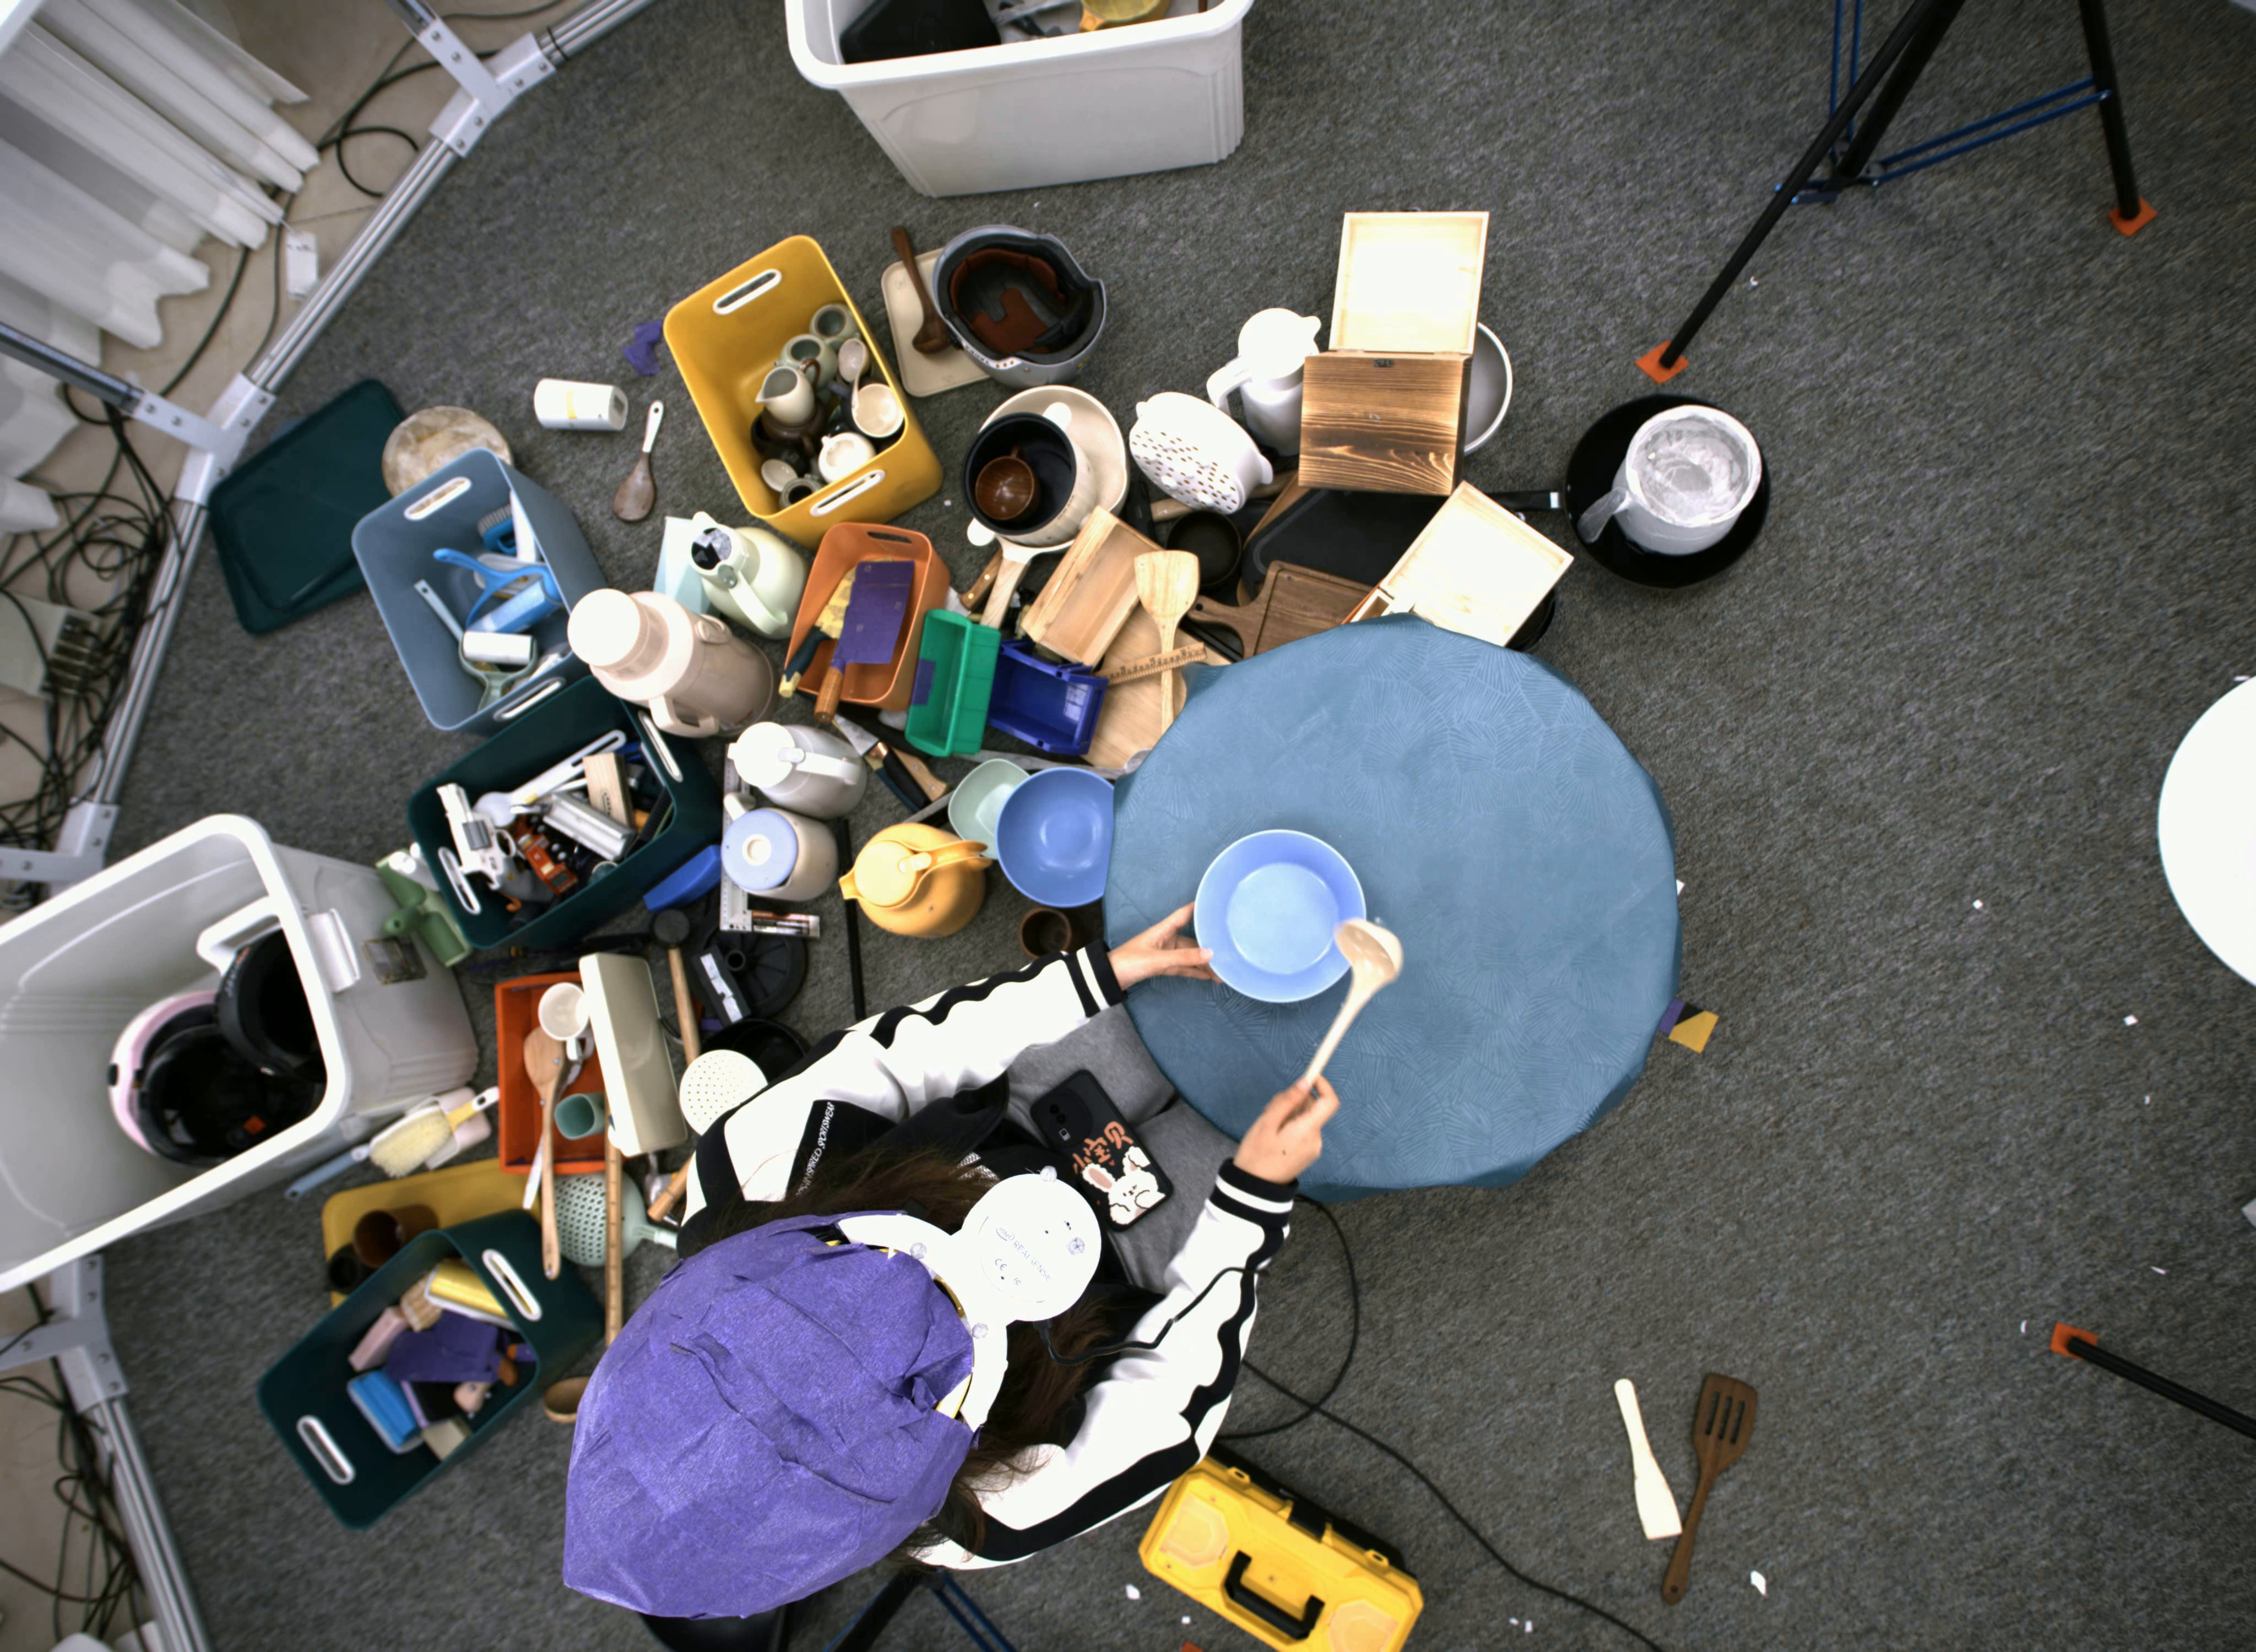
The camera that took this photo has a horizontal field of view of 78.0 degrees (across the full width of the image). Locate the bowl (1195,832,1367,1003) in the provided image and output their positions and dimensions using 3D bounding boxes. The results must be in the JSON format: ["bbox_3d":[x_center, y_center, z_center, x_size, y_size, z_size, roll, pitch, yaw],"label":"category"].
[{"bbox_3d":[0.160,0.096,1.444,0.177,0.070,0.175,-1,85,11],"label":"bowl"}]

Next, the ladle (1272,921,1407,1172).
[{"bbox_3d":[0.185,0.210,1.320,0.072,0.073,0.254,27,89,39],"label":"ladle"}]
